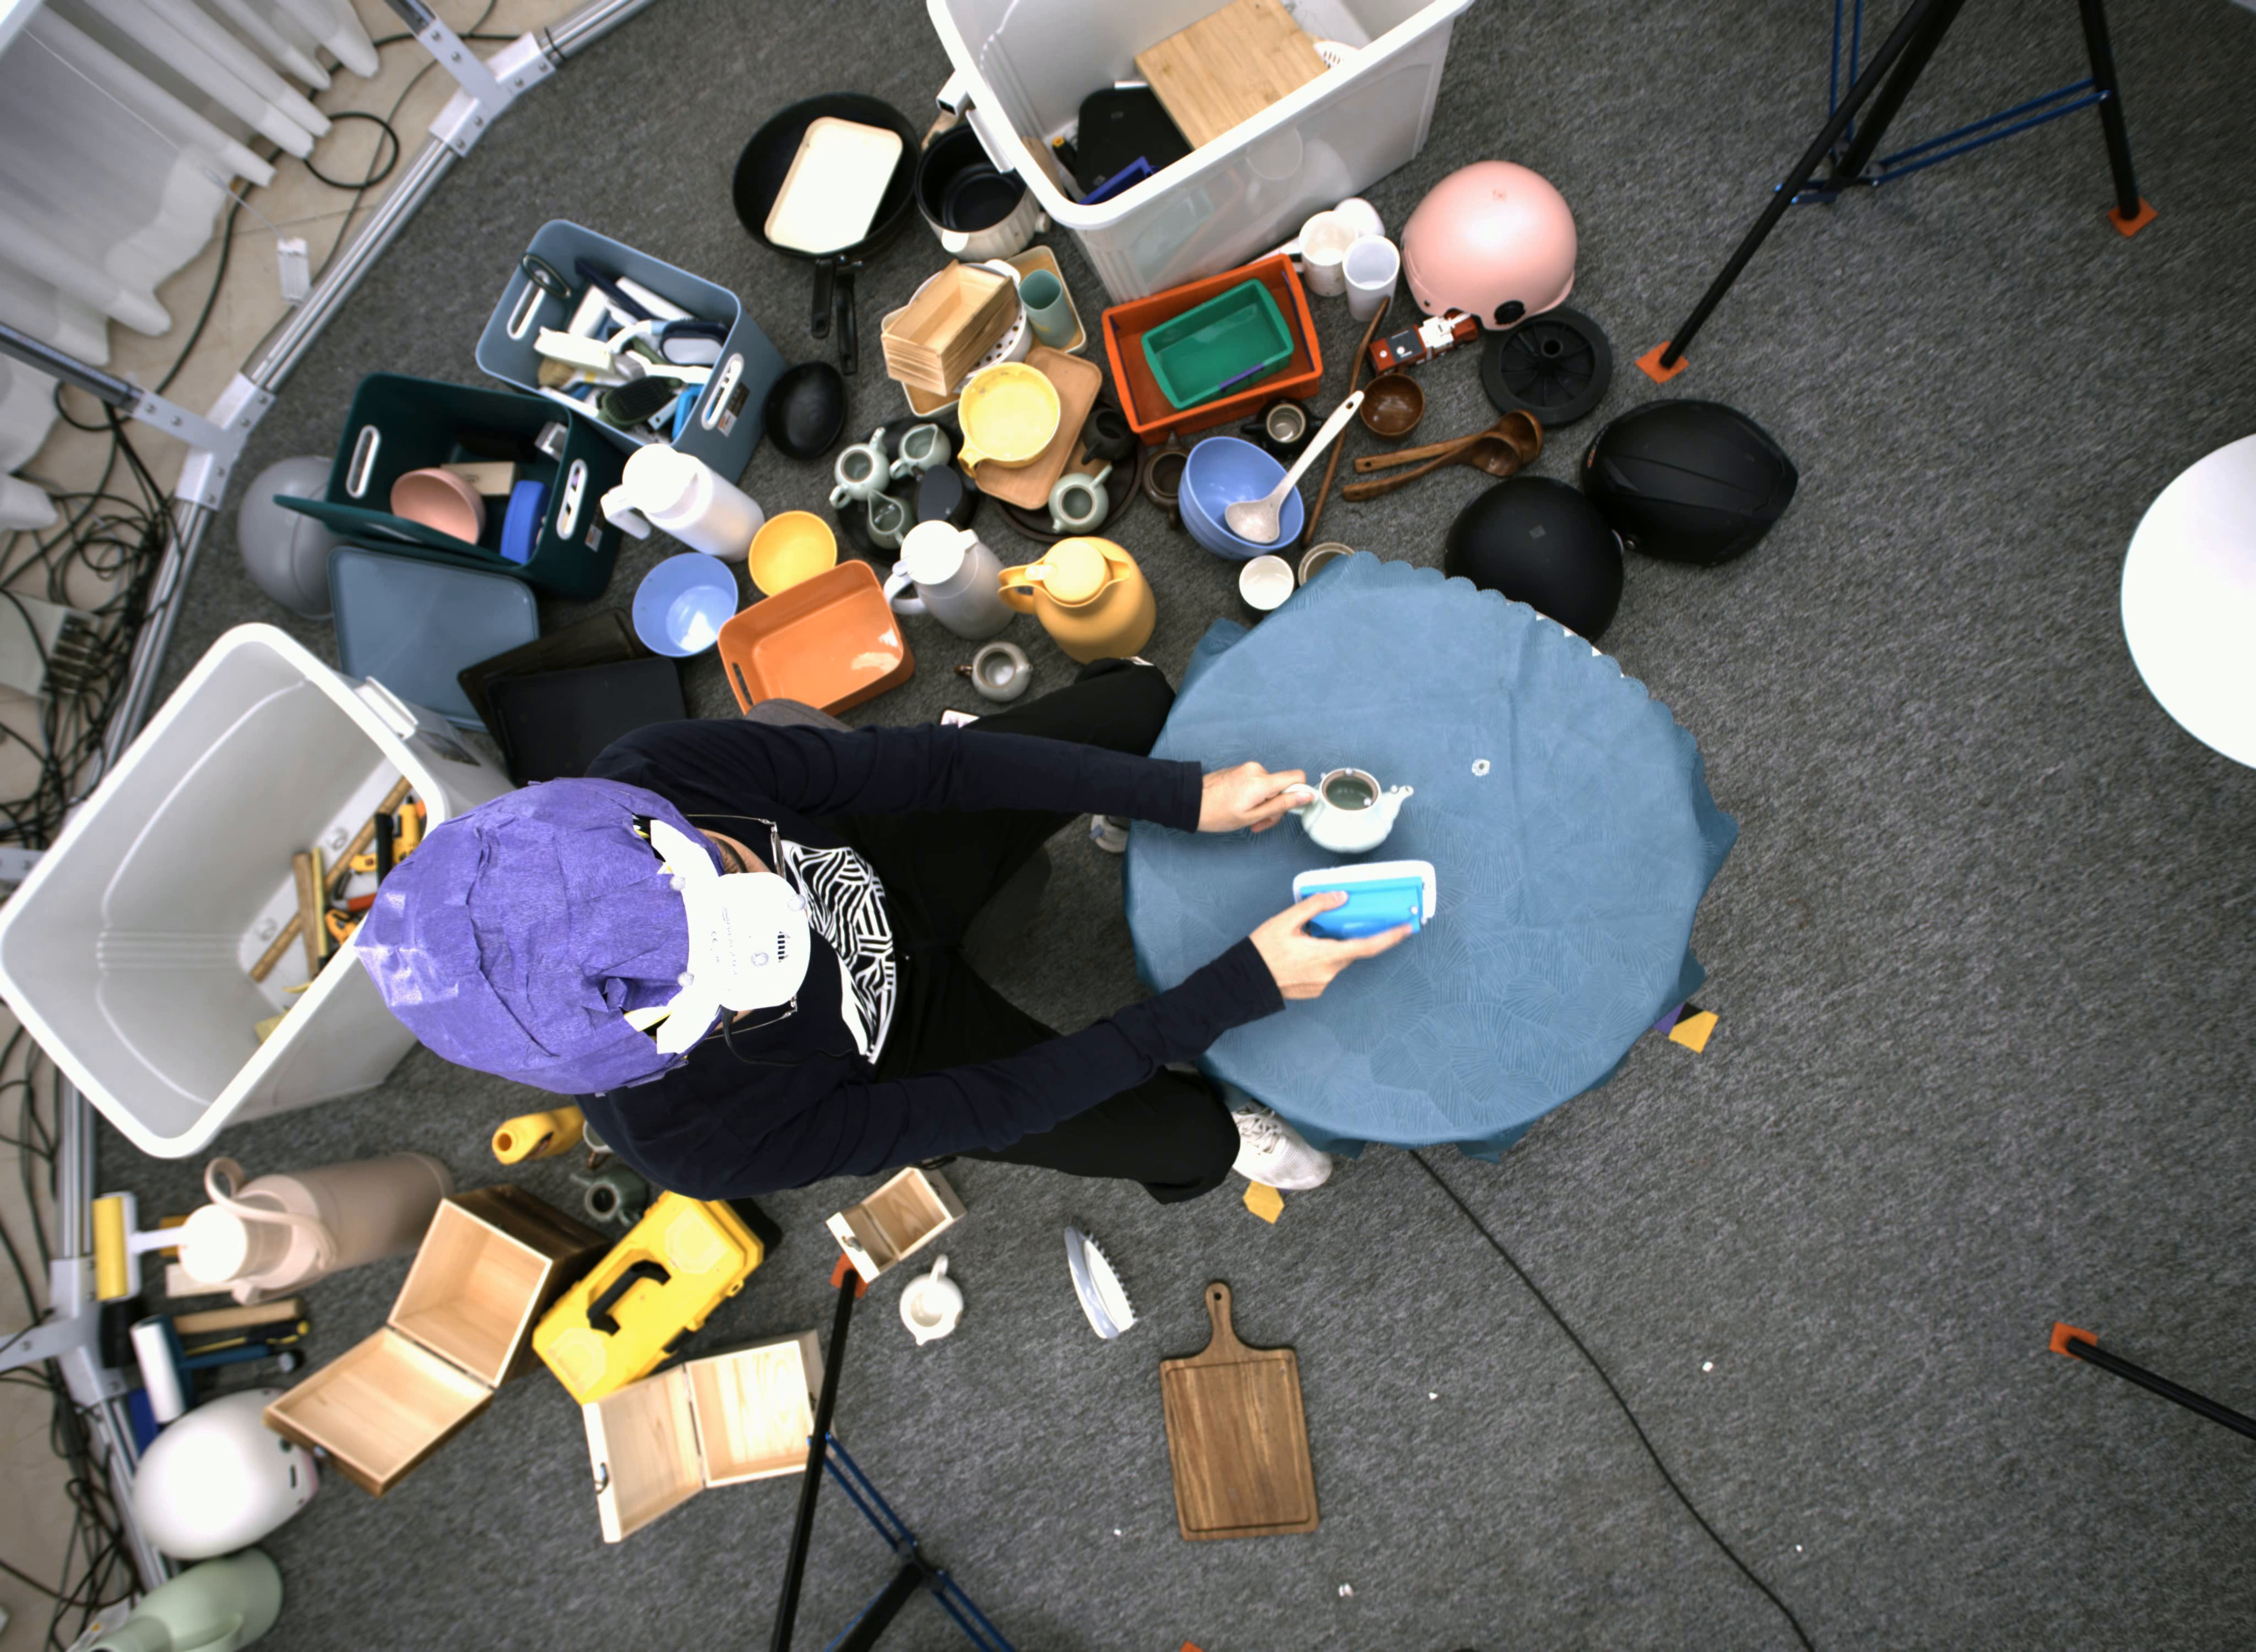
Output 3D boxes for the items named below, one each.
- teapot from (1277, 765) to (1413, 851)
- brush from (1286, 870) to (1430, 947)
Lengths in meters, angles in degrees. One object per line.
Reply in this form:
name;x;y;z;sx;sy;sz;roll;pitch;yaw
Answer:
teapot;0.221;-0.023;1.420;0.137;0.063;0.094;1;54;0
brush;0.231;0.089;1.376;0.144;0.086;0.054;-6;41;6
